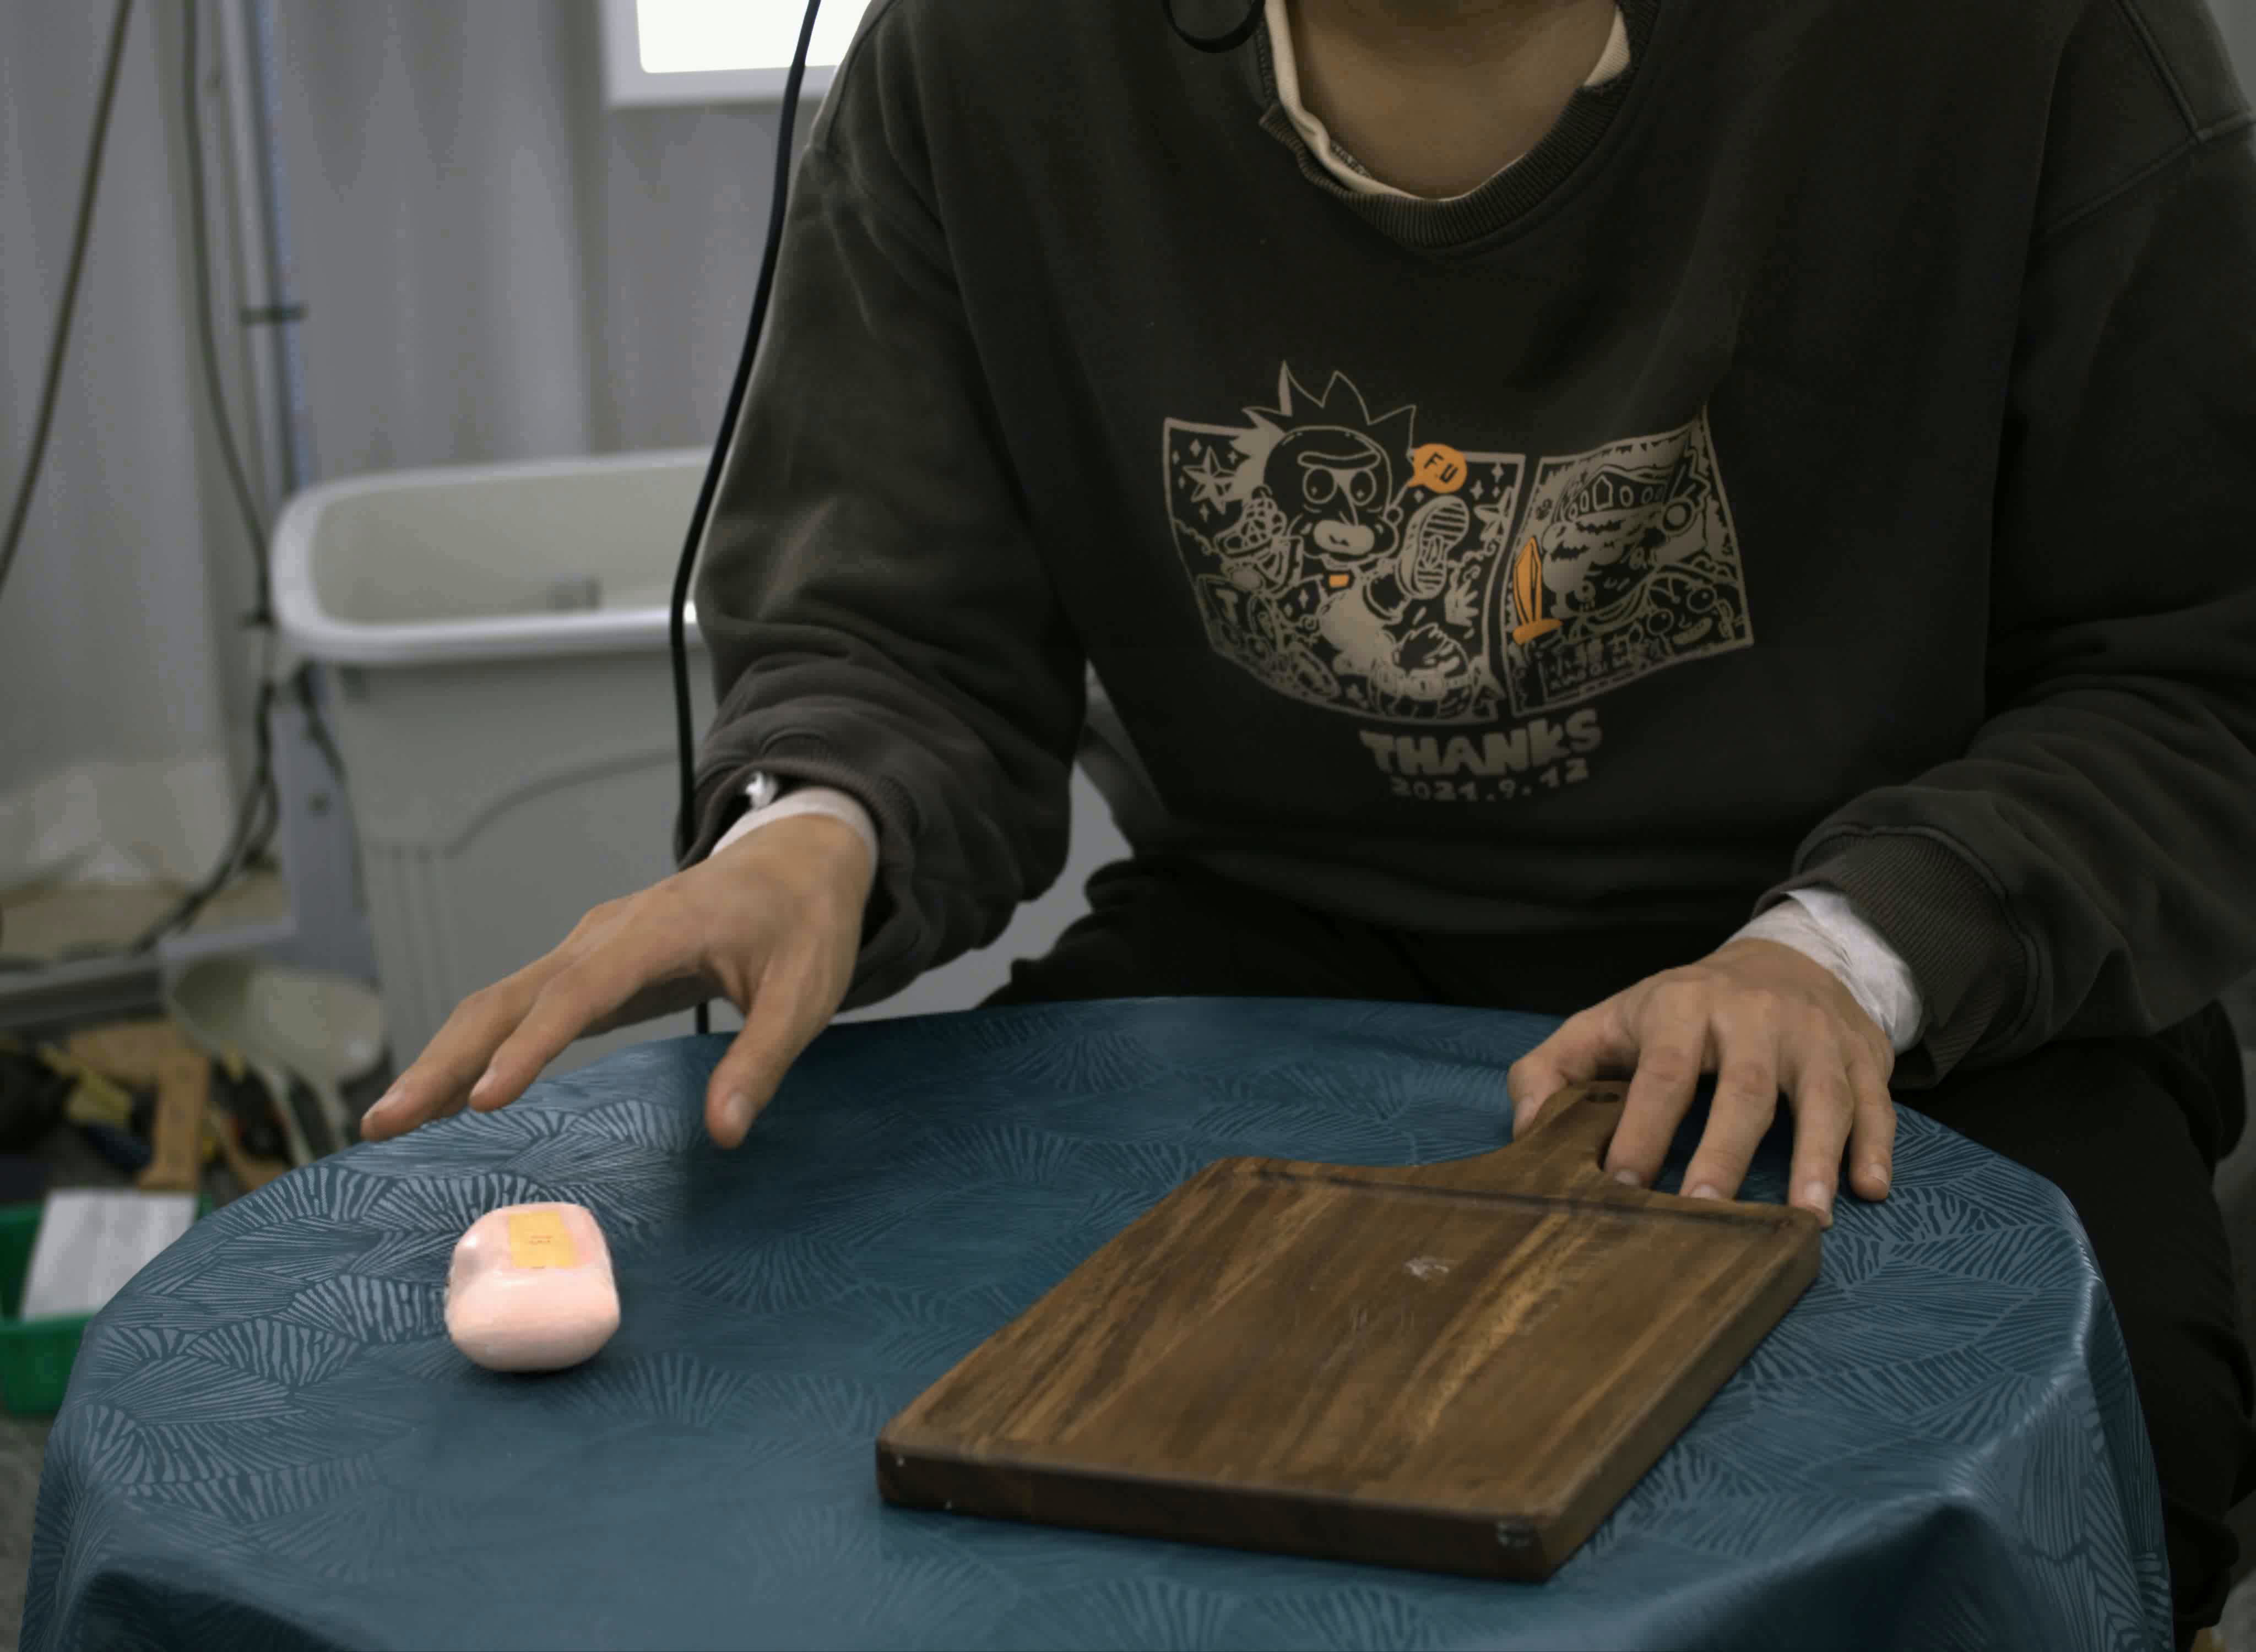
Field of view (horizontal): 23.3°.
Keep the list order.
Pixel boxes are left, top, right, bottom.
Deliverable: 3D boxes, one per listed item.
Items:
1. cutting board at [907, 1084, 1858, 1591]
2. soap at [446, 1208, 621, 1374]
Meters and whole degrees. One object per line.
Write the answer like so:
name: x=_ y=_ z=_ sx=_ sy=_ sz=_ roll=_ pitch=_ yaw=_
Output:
cutting board: x=0.097 y=0.137 z=1.581 sx=0.201 sy=0.023 sz=0.353 roll=4 pitch=16 yaw=24
soap: x=-0.175 y=0.137 z=1.619 sx=0.050 sy=0.030 sz=0.095 roll=-3 pitch=13 yaw=-4
